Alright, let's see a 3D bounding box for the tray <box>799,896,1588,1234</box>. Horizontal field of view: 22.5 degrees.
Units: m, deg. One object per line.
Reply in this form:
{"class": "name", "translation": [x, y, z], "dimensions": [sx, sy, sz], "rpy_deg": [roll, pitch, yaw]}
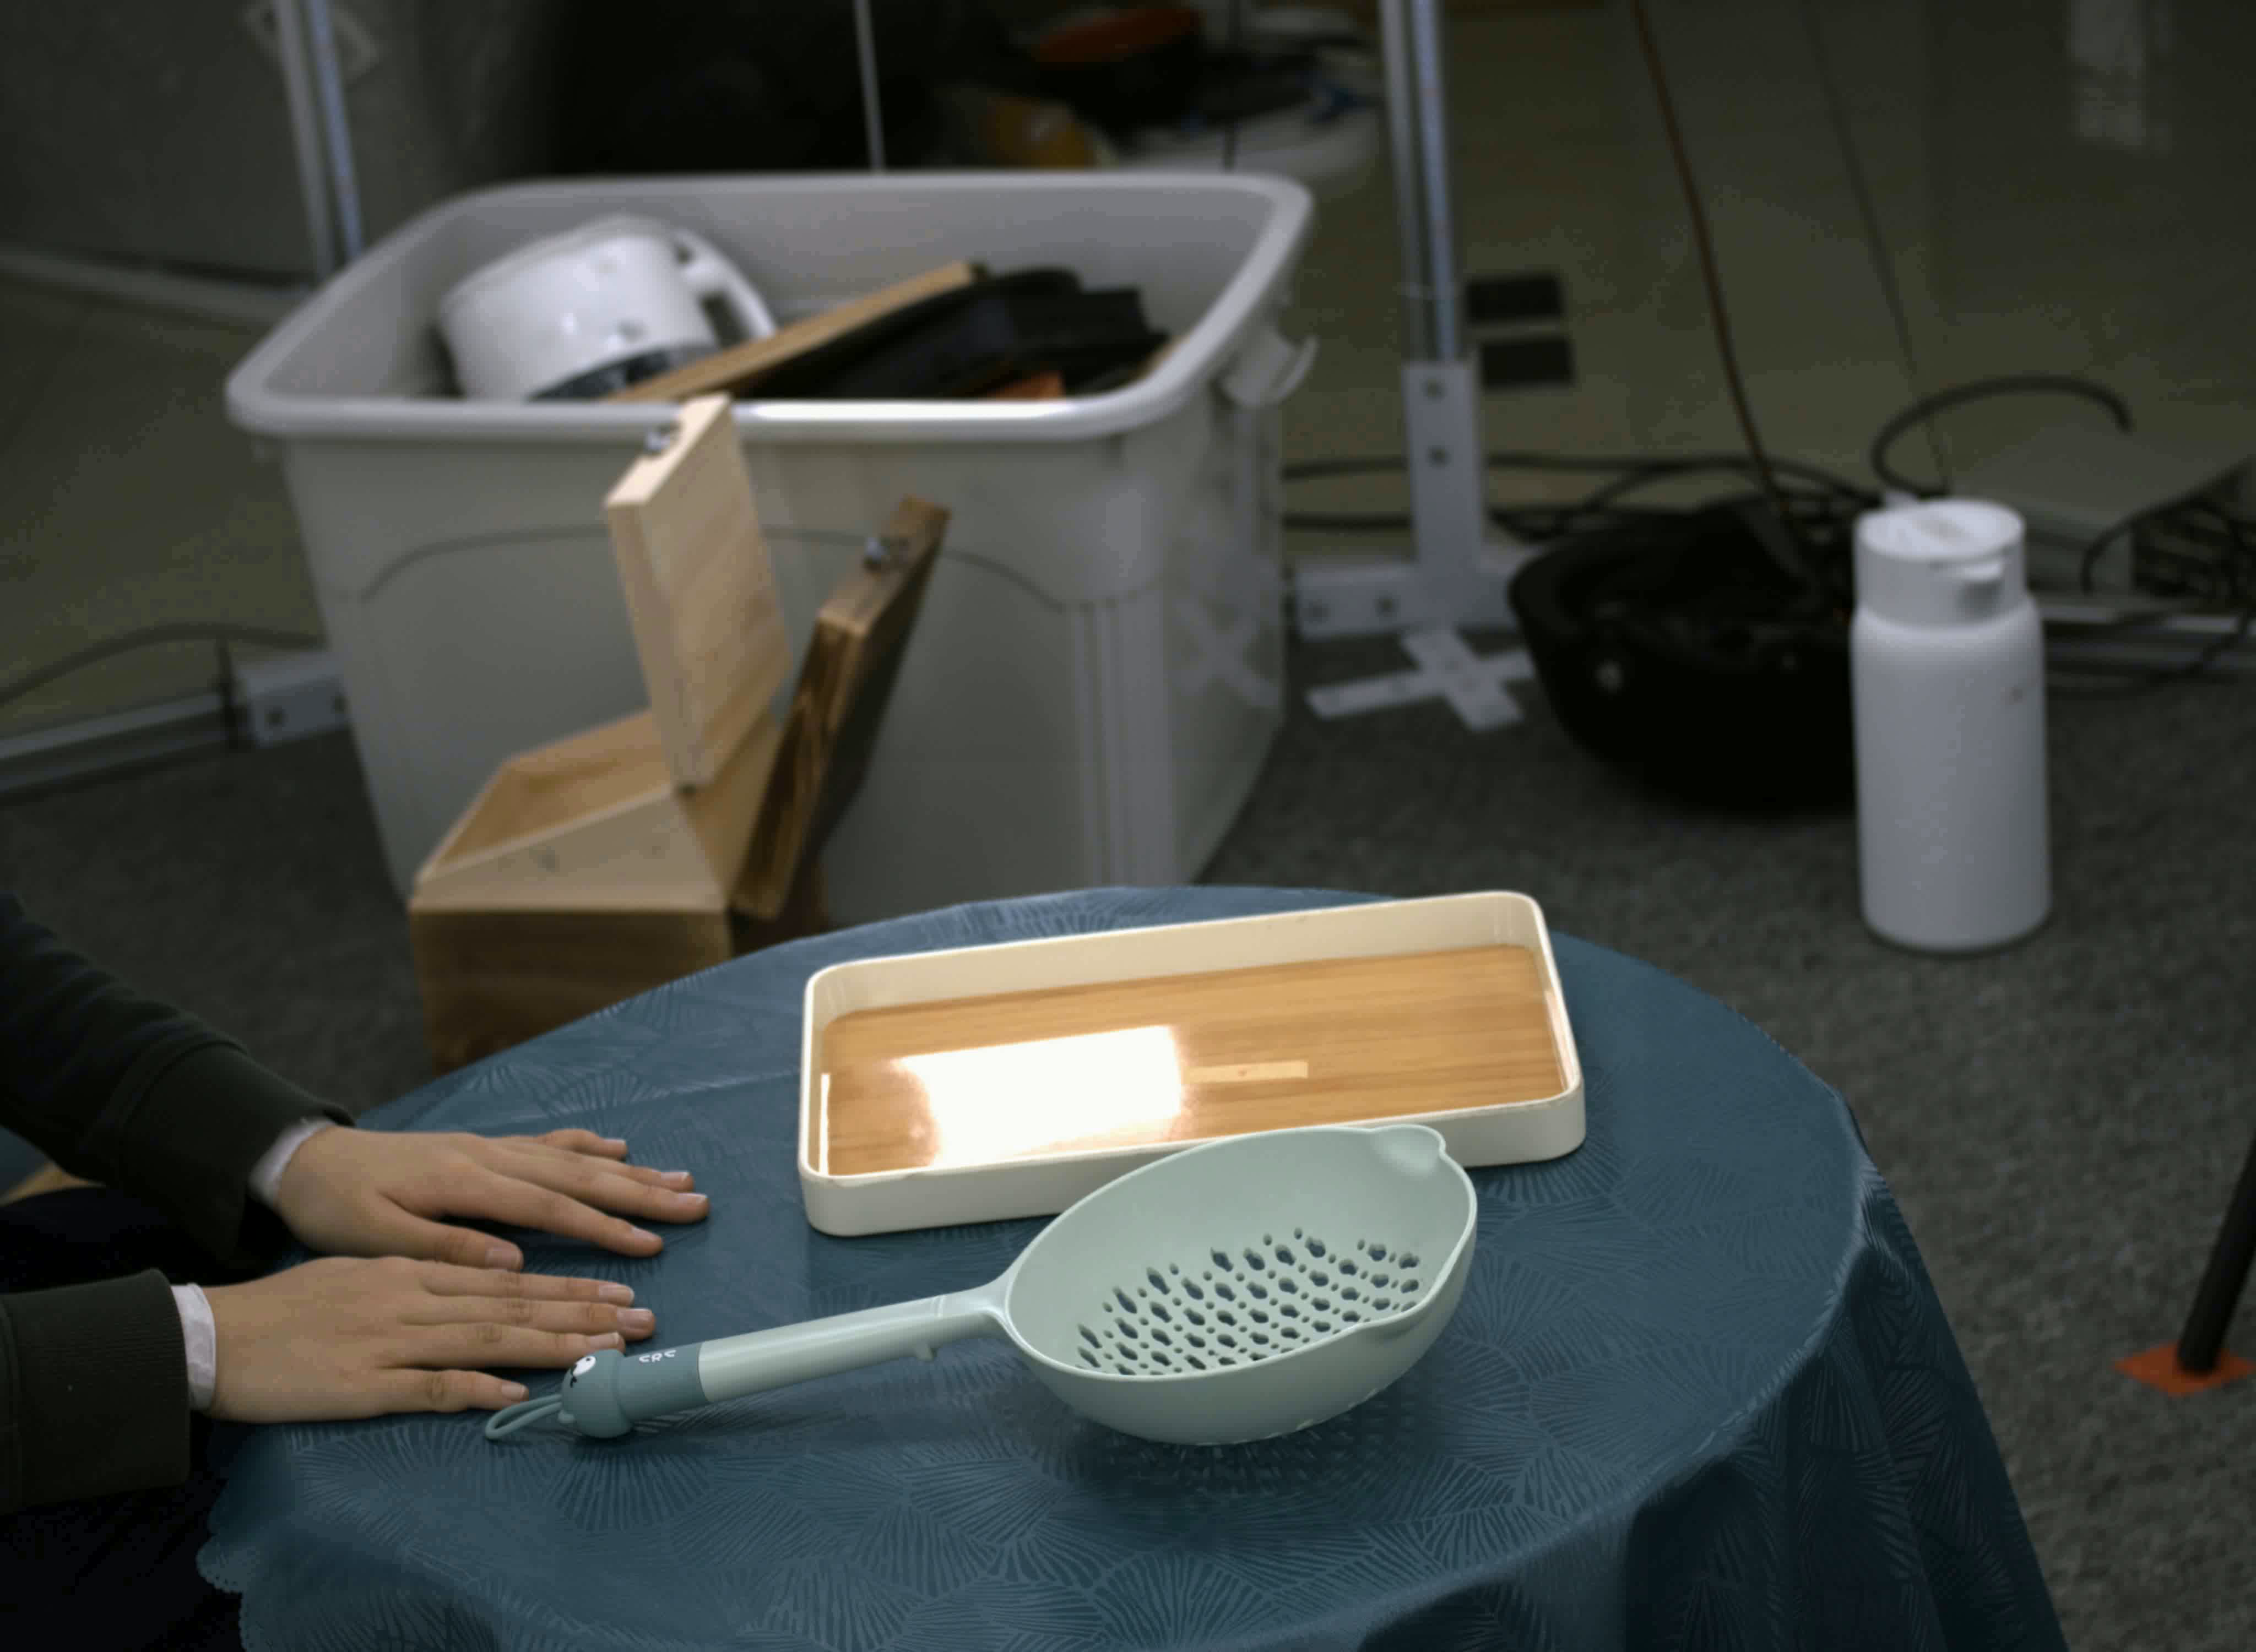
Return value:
{"class": "tray", "translation": [0.023, 0.092, 2.218], "dimensions": [0.300, 0.028, 0.189], "rpy_deg": [-6, 25, 1]}

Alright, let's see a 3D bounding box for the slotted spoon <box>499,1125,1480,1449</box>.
{"class": "slotted spoon", "translation": [-0.052, 0.178, 2.005], "dimensions": [0.358, 0.076, 0.167], "rpy_deg": [-4, 25, 6]}
